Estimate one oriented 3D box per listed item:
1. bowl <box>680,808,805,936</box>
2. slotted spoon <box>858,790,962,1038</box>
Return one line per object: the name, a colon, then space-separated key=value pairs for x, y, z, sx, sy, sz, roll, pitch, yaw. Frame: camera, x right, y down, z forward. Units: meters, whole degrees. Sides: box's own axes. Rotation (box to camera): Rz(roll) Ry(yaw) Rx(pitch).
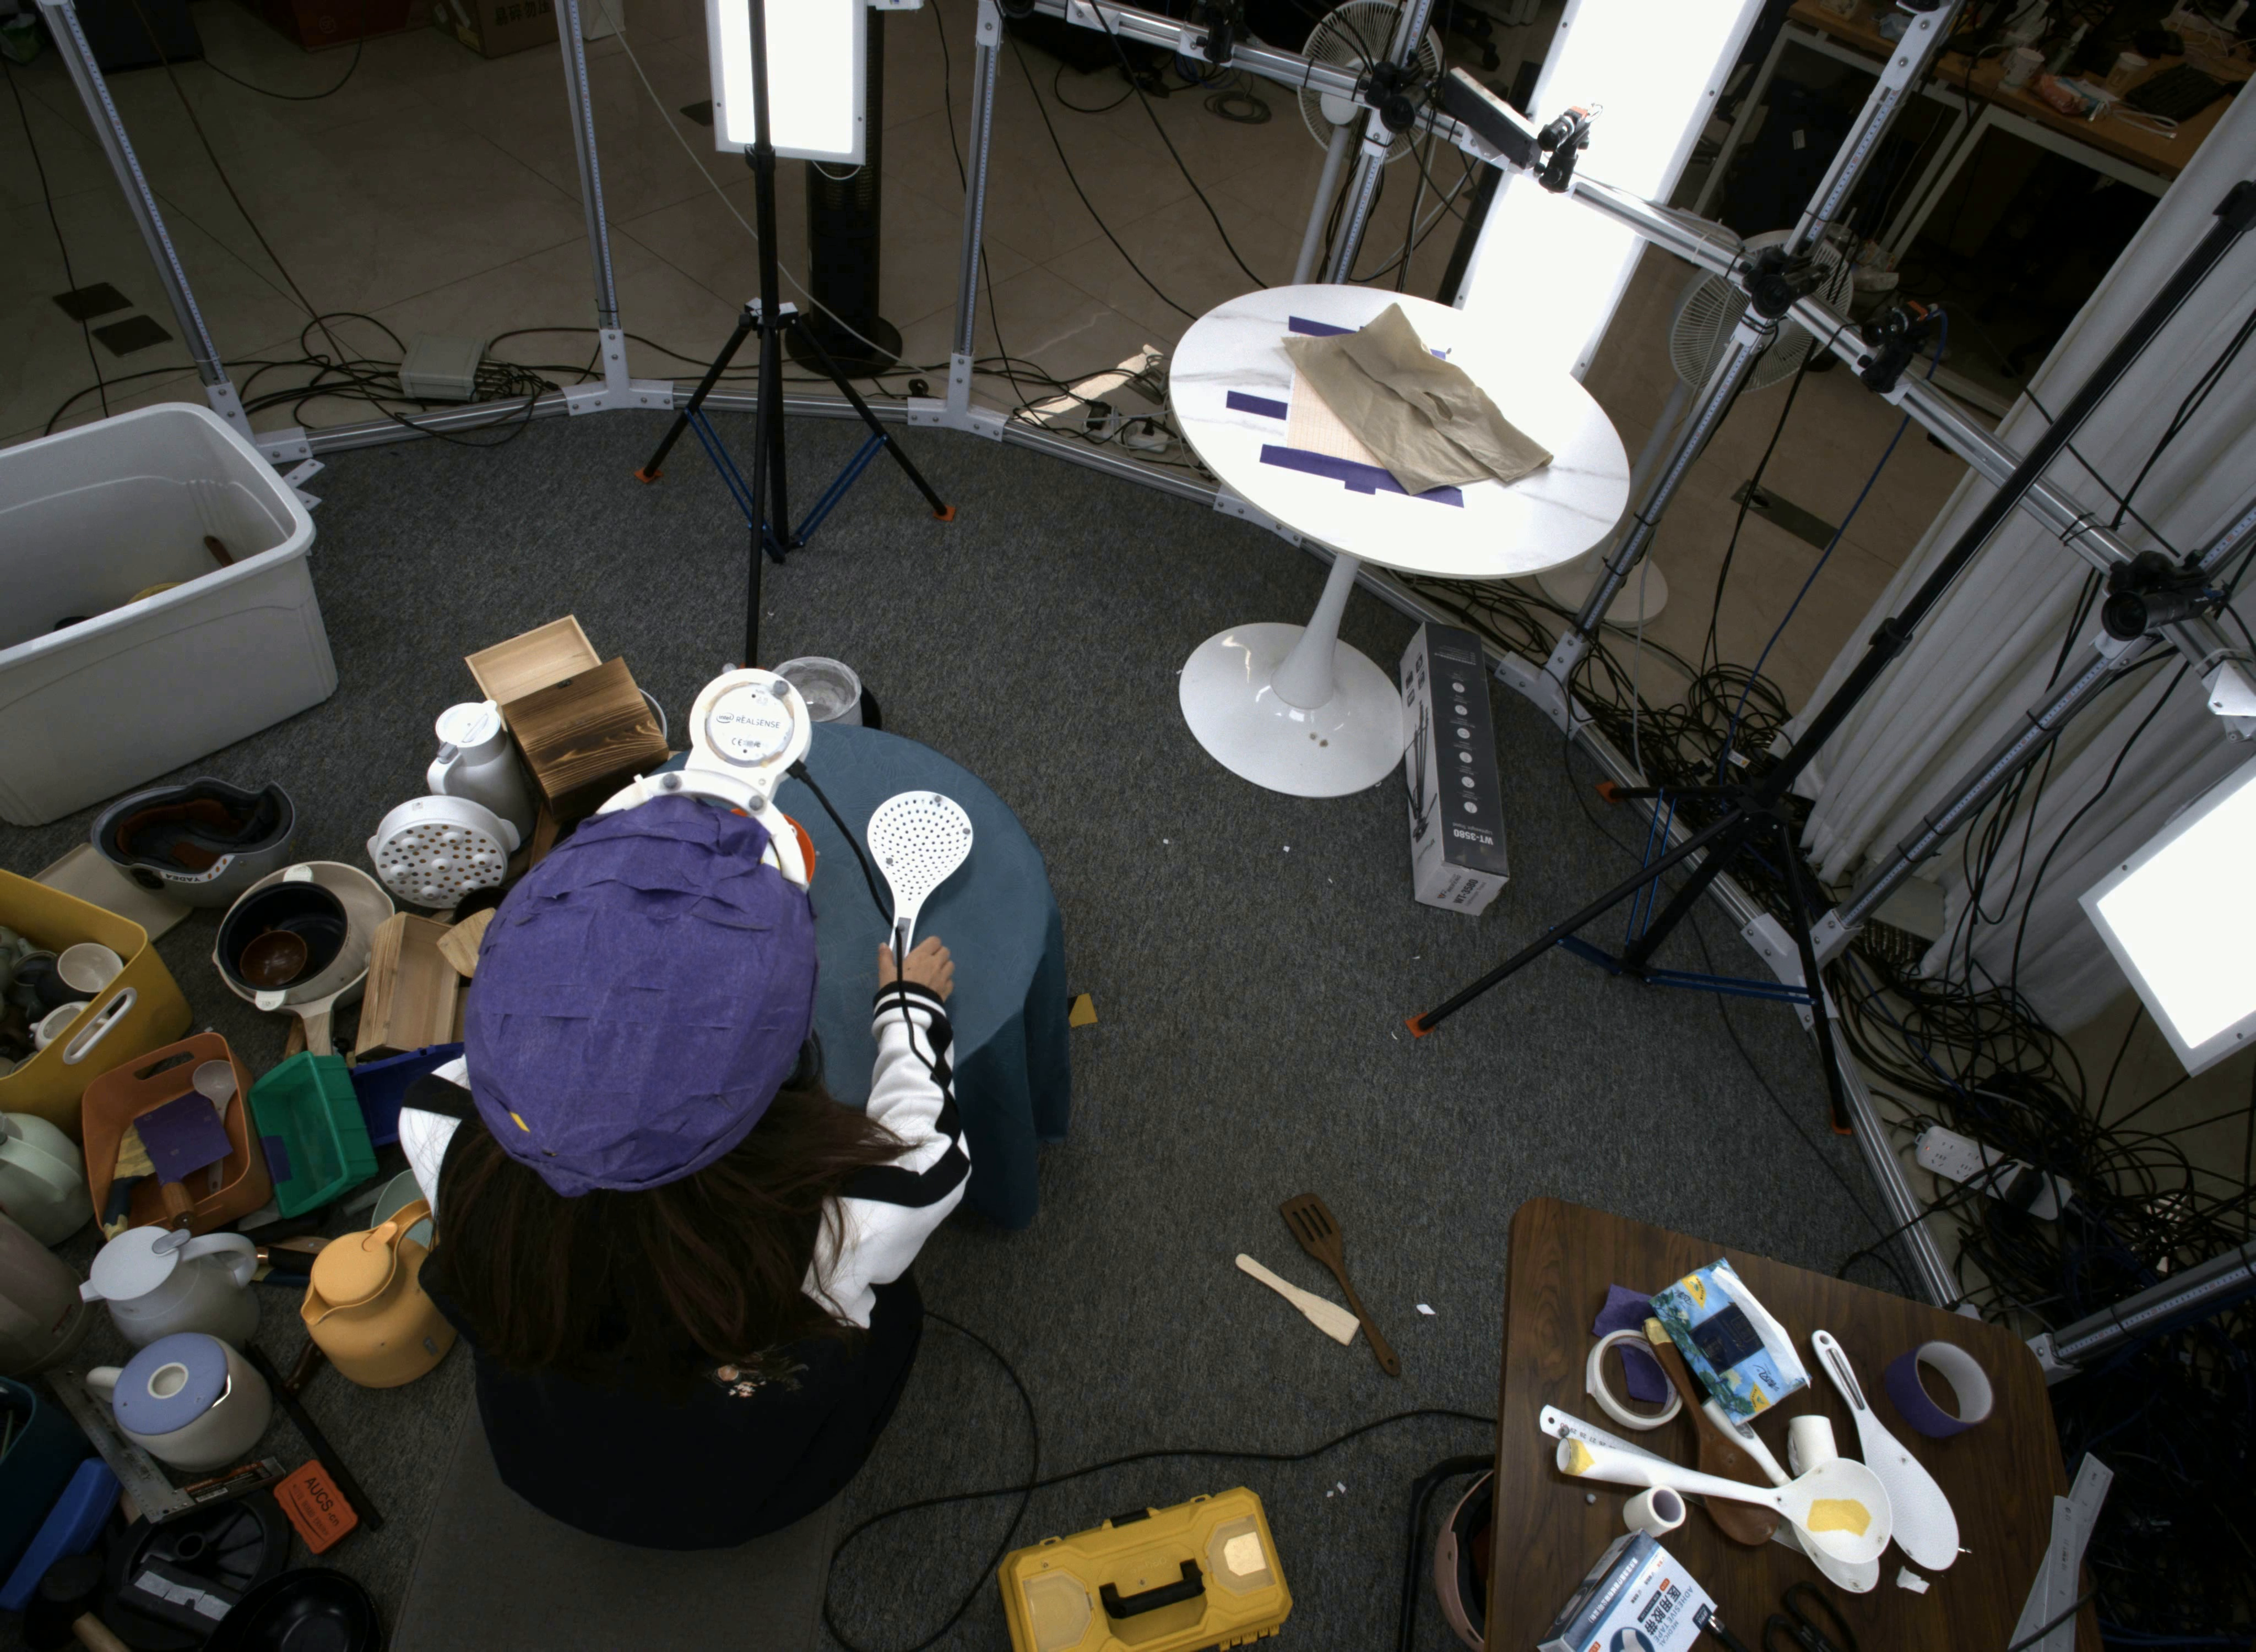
bowl: x=-0.473 y=0.067 z=1.591 sx=0.148 sy=0.106 sz=0.145 roll=9 pitch=52 yaw=-10
slotted spoon: x=-0.292 y=0.104 z=1.647 sx=0.135 sy=0.047 sz=0.344 roll=8 pitch=53 yaw=-6
